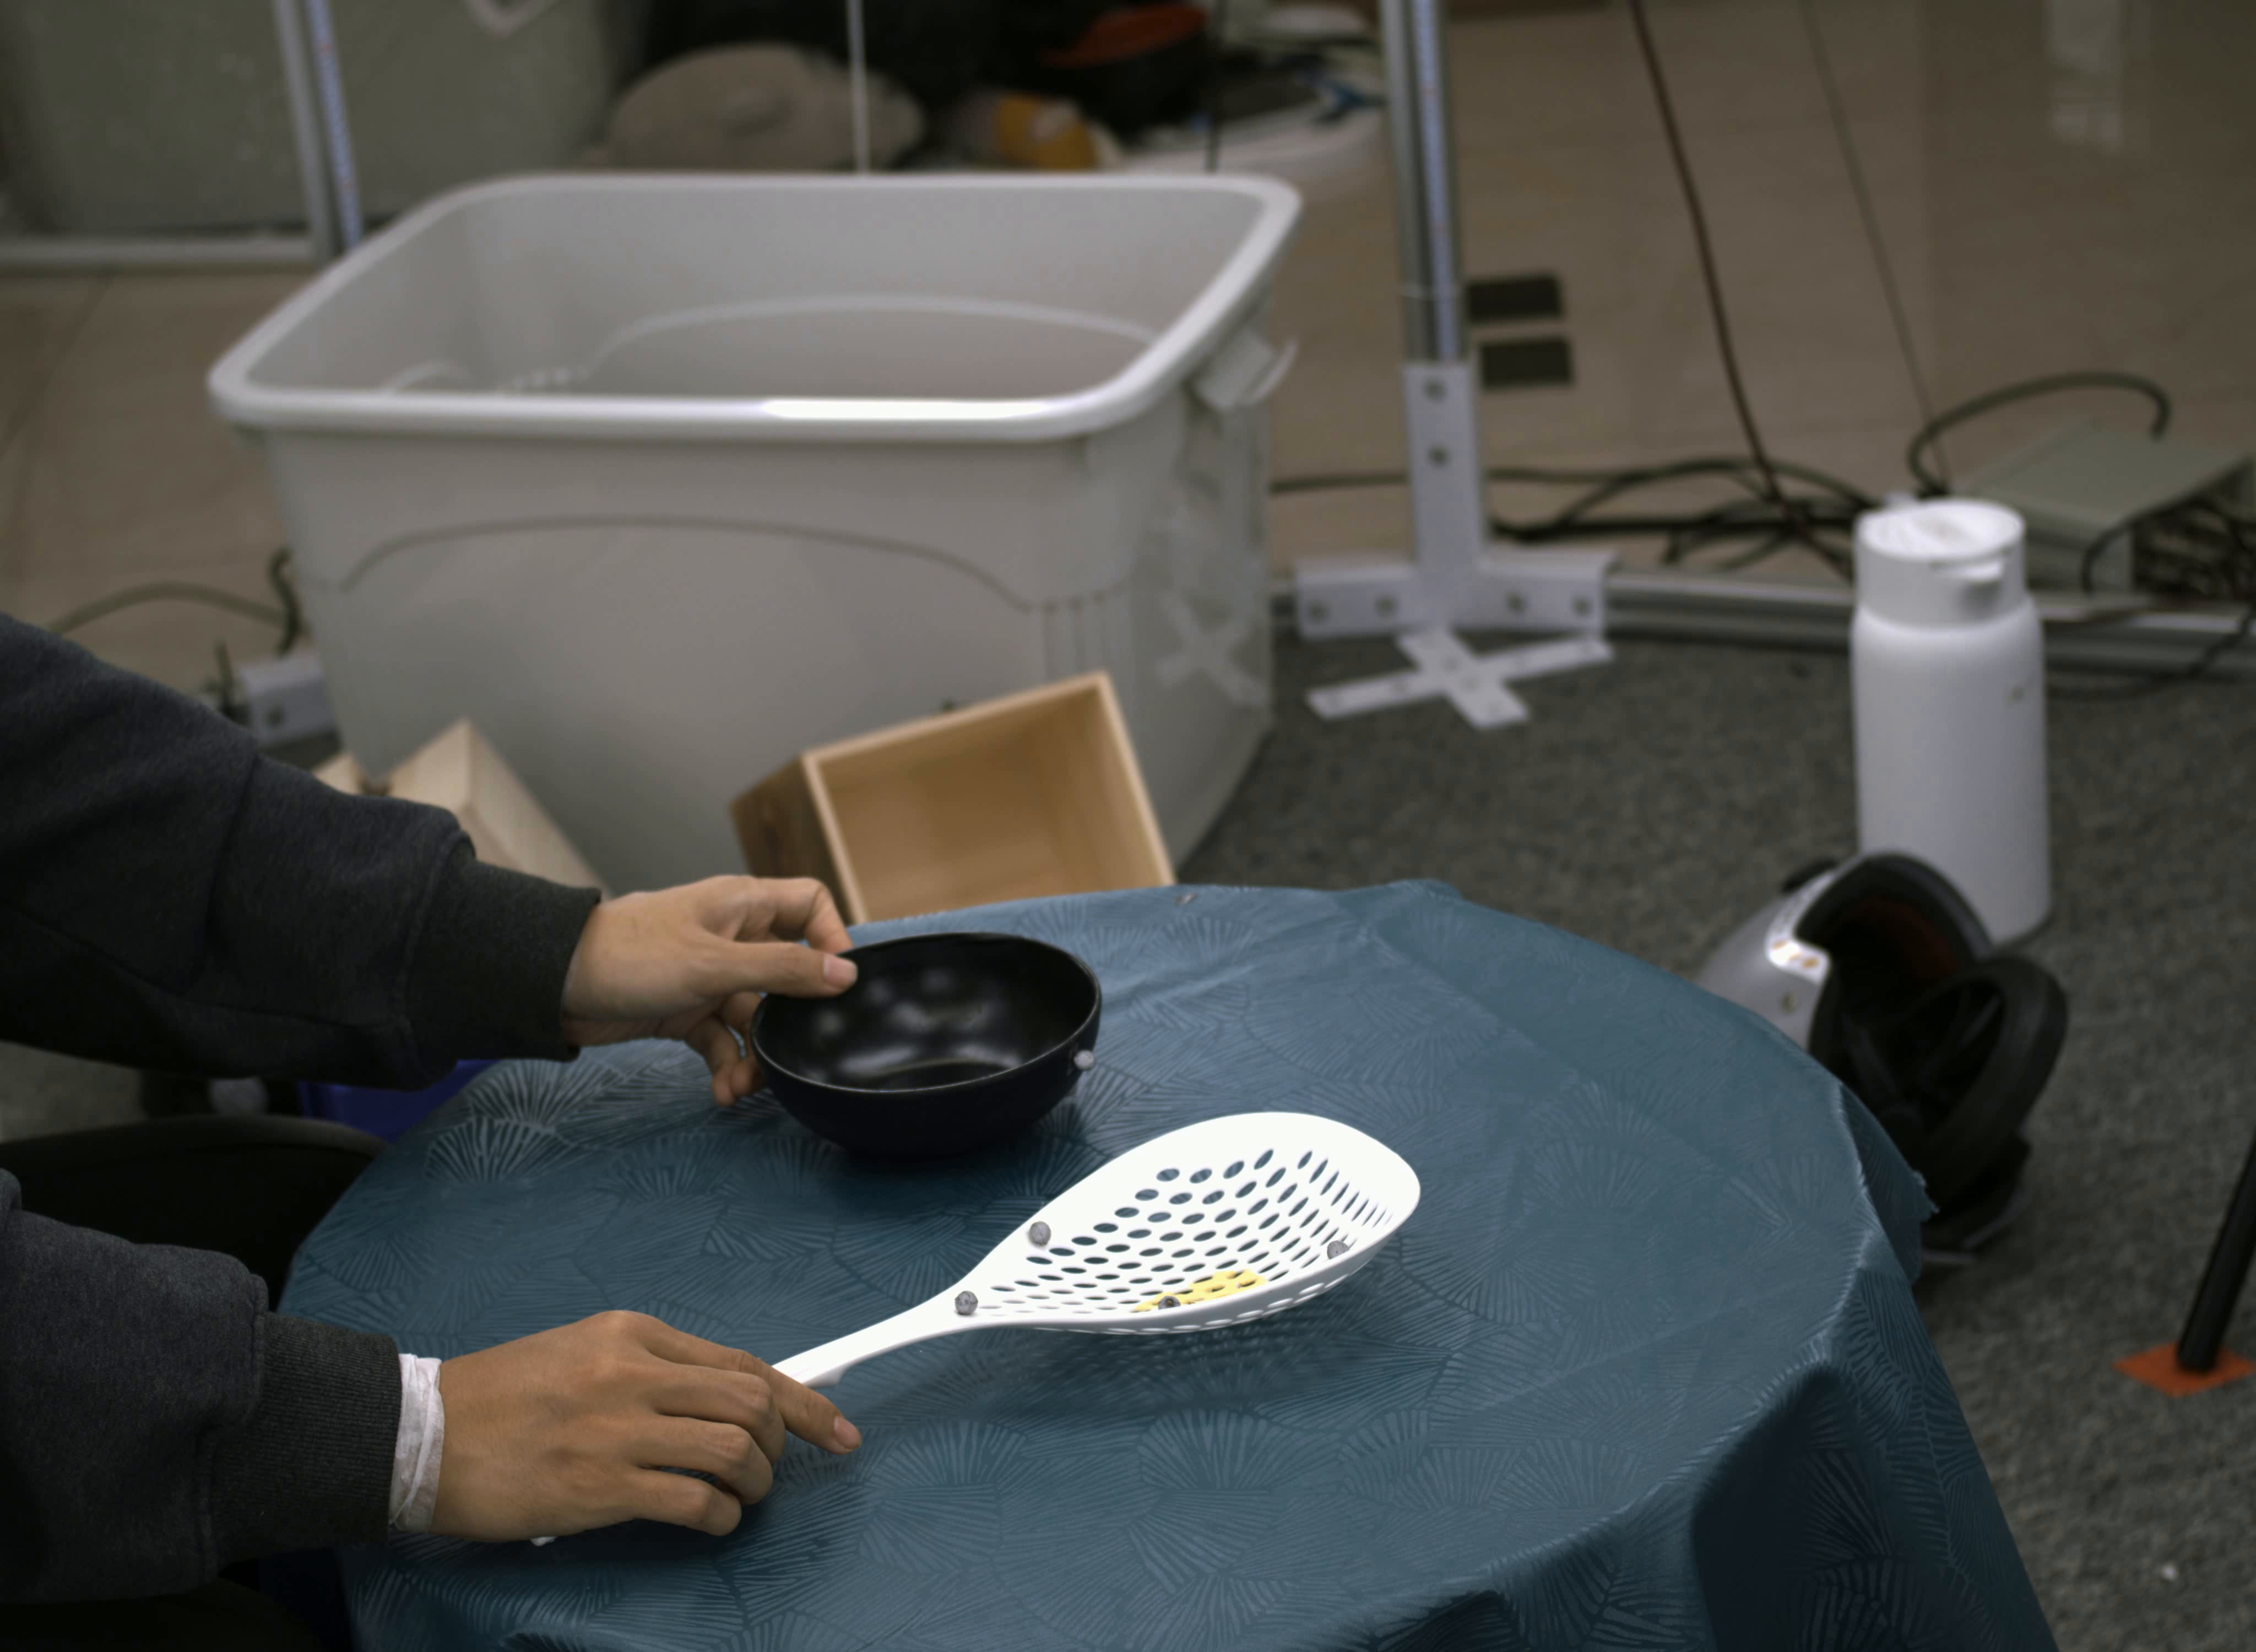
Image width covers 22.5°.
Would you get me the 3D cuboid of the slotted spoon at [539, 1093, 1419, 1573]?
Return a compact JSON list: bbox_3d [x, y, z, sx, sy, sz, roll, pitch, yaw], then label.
[{"bbox_3d":[-0.056,0.182,2.020,0.346,0.051,0.135,-18,27,-22],"label":"slotted spoon"}]
